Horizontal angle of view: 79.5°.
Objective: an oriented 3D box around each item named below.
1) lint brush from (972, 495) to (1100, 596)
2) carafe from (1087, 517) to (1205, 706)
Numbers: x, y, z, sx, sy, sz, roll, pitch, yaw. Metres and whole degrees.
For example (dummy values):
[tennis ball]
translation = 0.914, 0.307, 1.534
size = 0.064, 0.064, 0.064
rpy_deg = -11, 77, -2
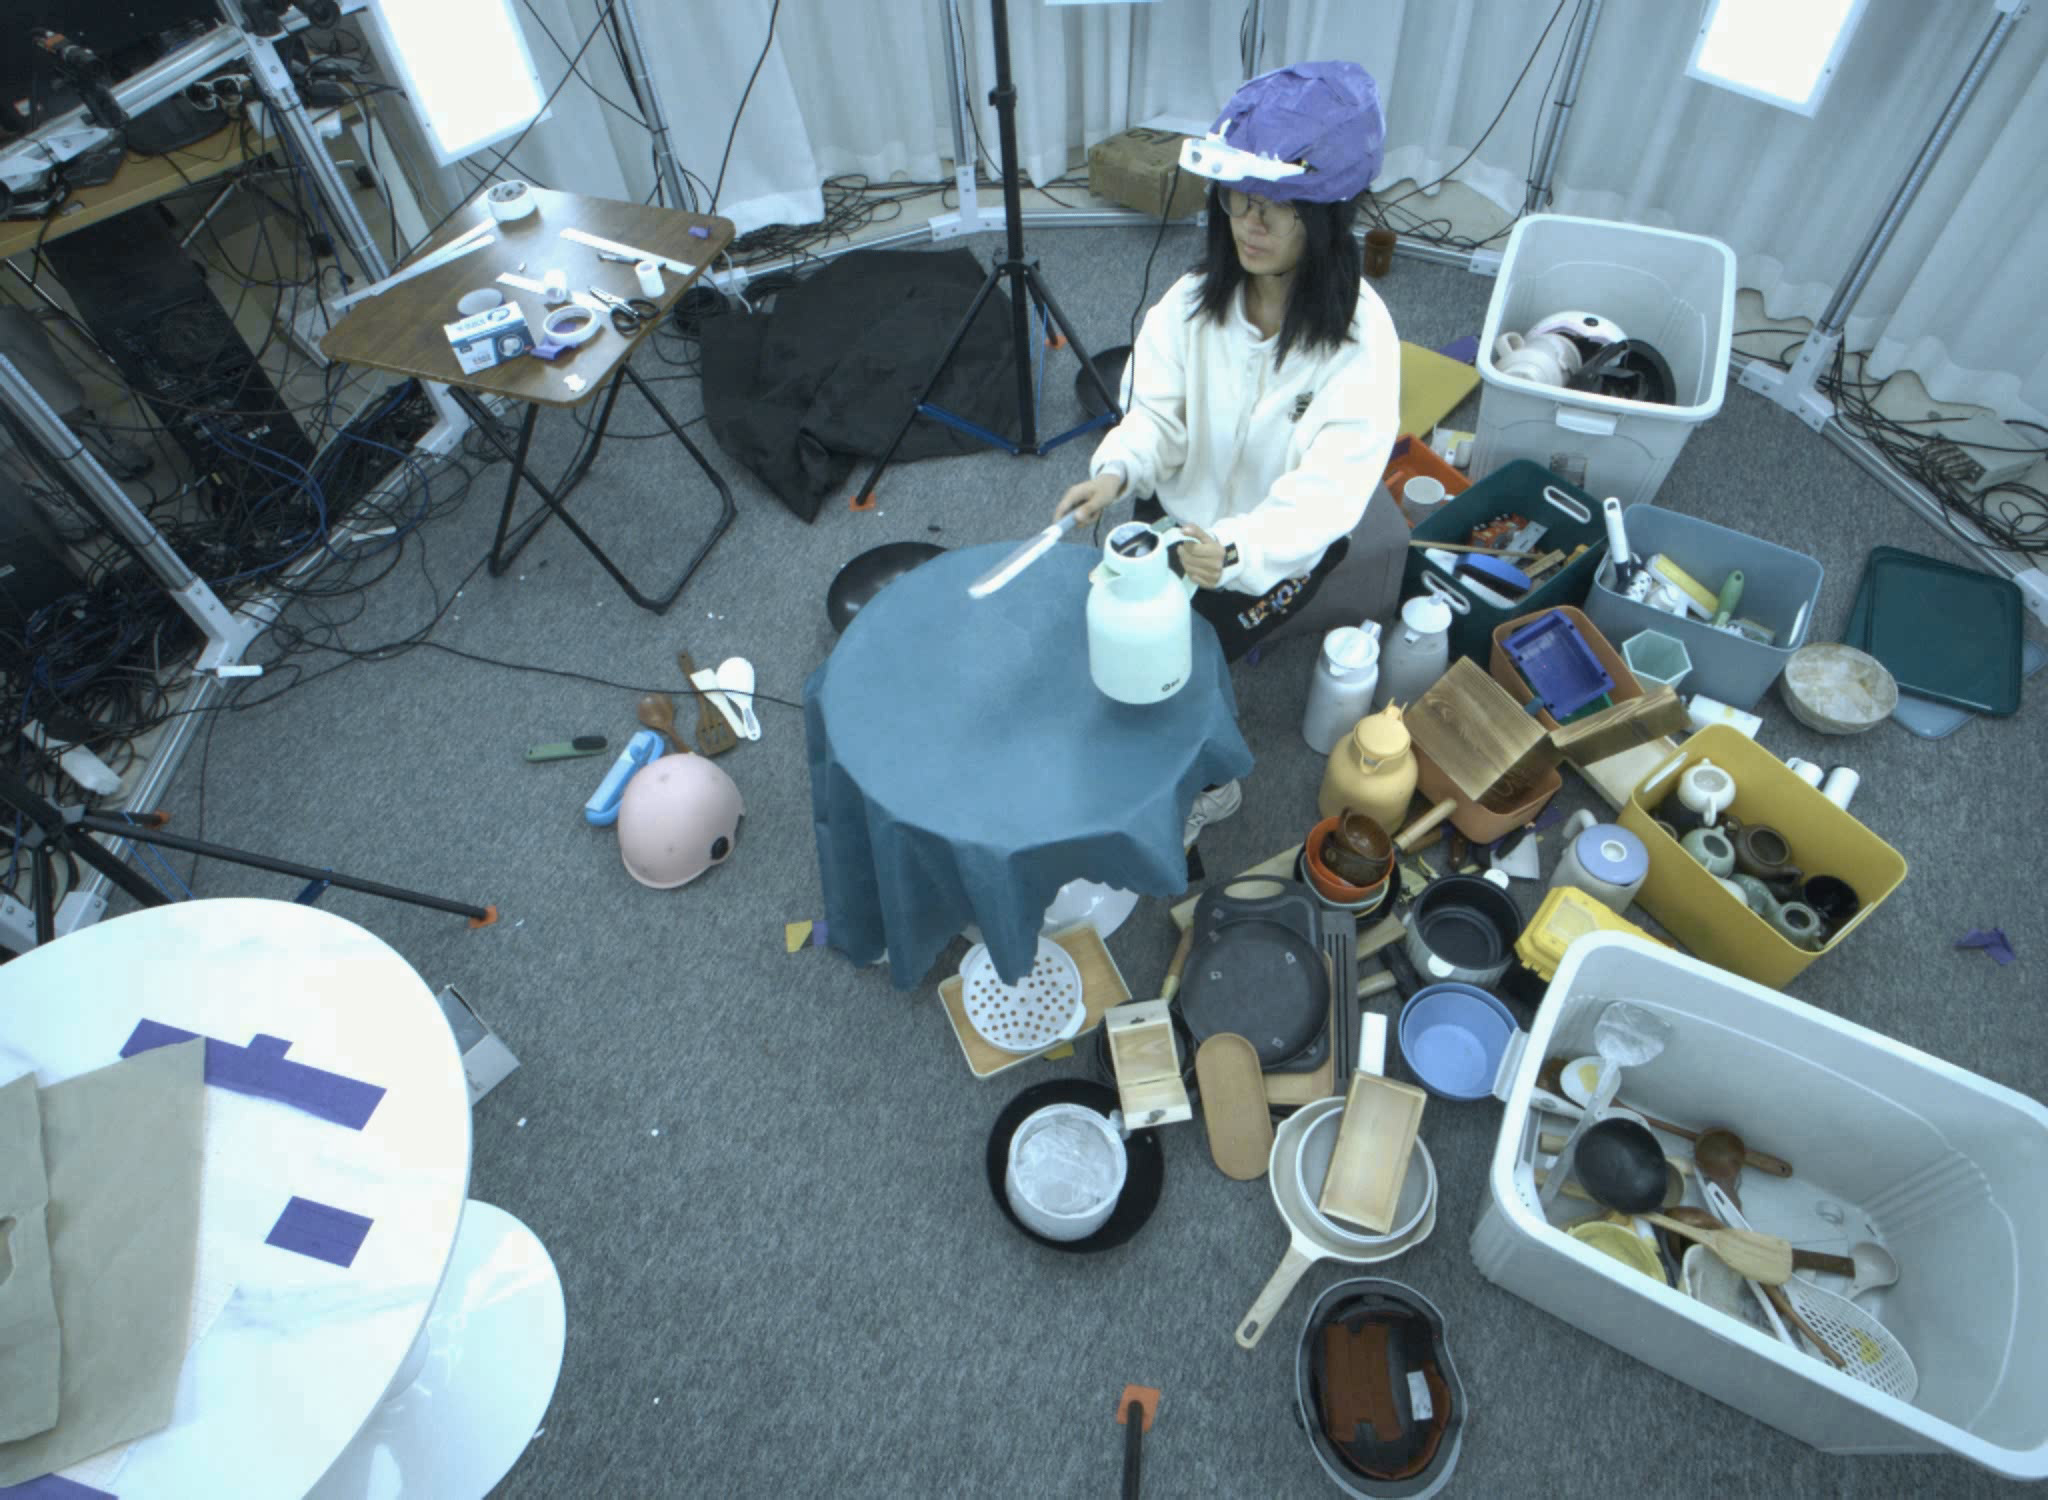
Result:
[lint brush]
translation = 0.025, -0.301, 1.776
size = 0.059, 0.021, 0.311
rpy_deg = -10, 26, 44
[carafe]
translation = 0.167, -0.197, 1.684
size = 0.188, 0.260, 0.141
rpy_deg = -31, 54, -21
